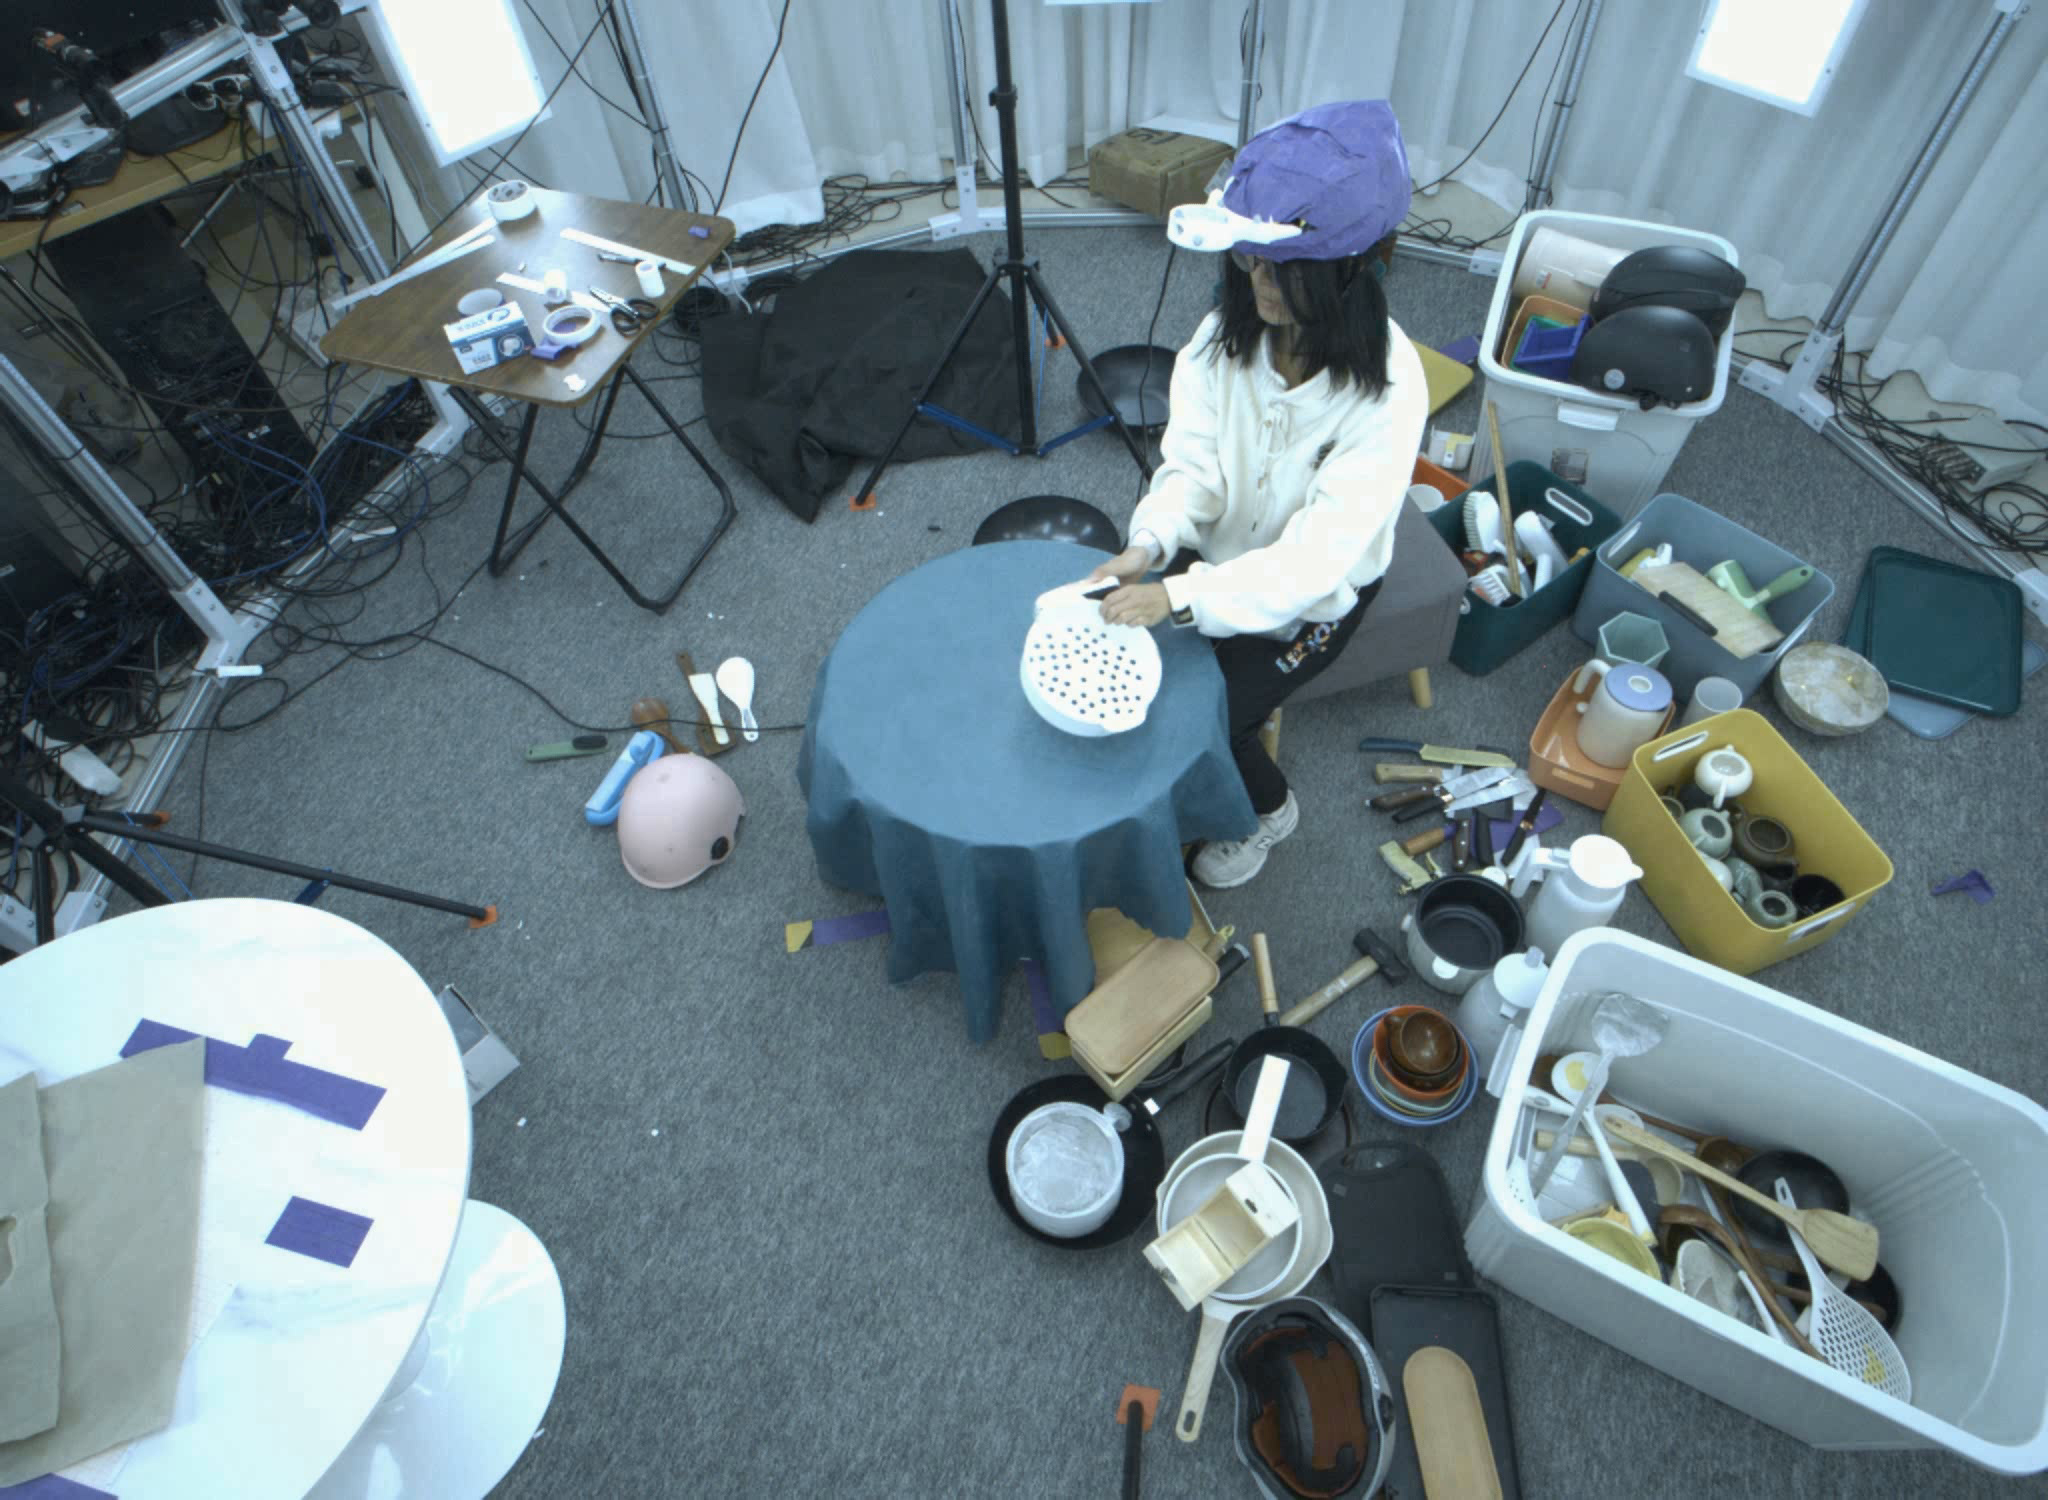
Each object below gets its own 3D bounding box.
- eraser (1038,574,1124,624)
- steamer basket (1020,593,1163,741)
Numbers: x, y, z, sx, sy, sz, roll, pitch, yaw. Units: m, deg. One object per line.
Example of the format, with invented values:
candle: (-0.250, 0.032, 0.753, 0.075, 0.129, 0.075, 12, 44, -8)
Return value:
eraser: (0.084, -0.222, 1.818, 0.132, 0.064, 0.034, -21, 67, -13)
steamer basket: (0.095, -0.111, 1.766, 0.204, 0.069, 0.229, -21, 78, -20)
